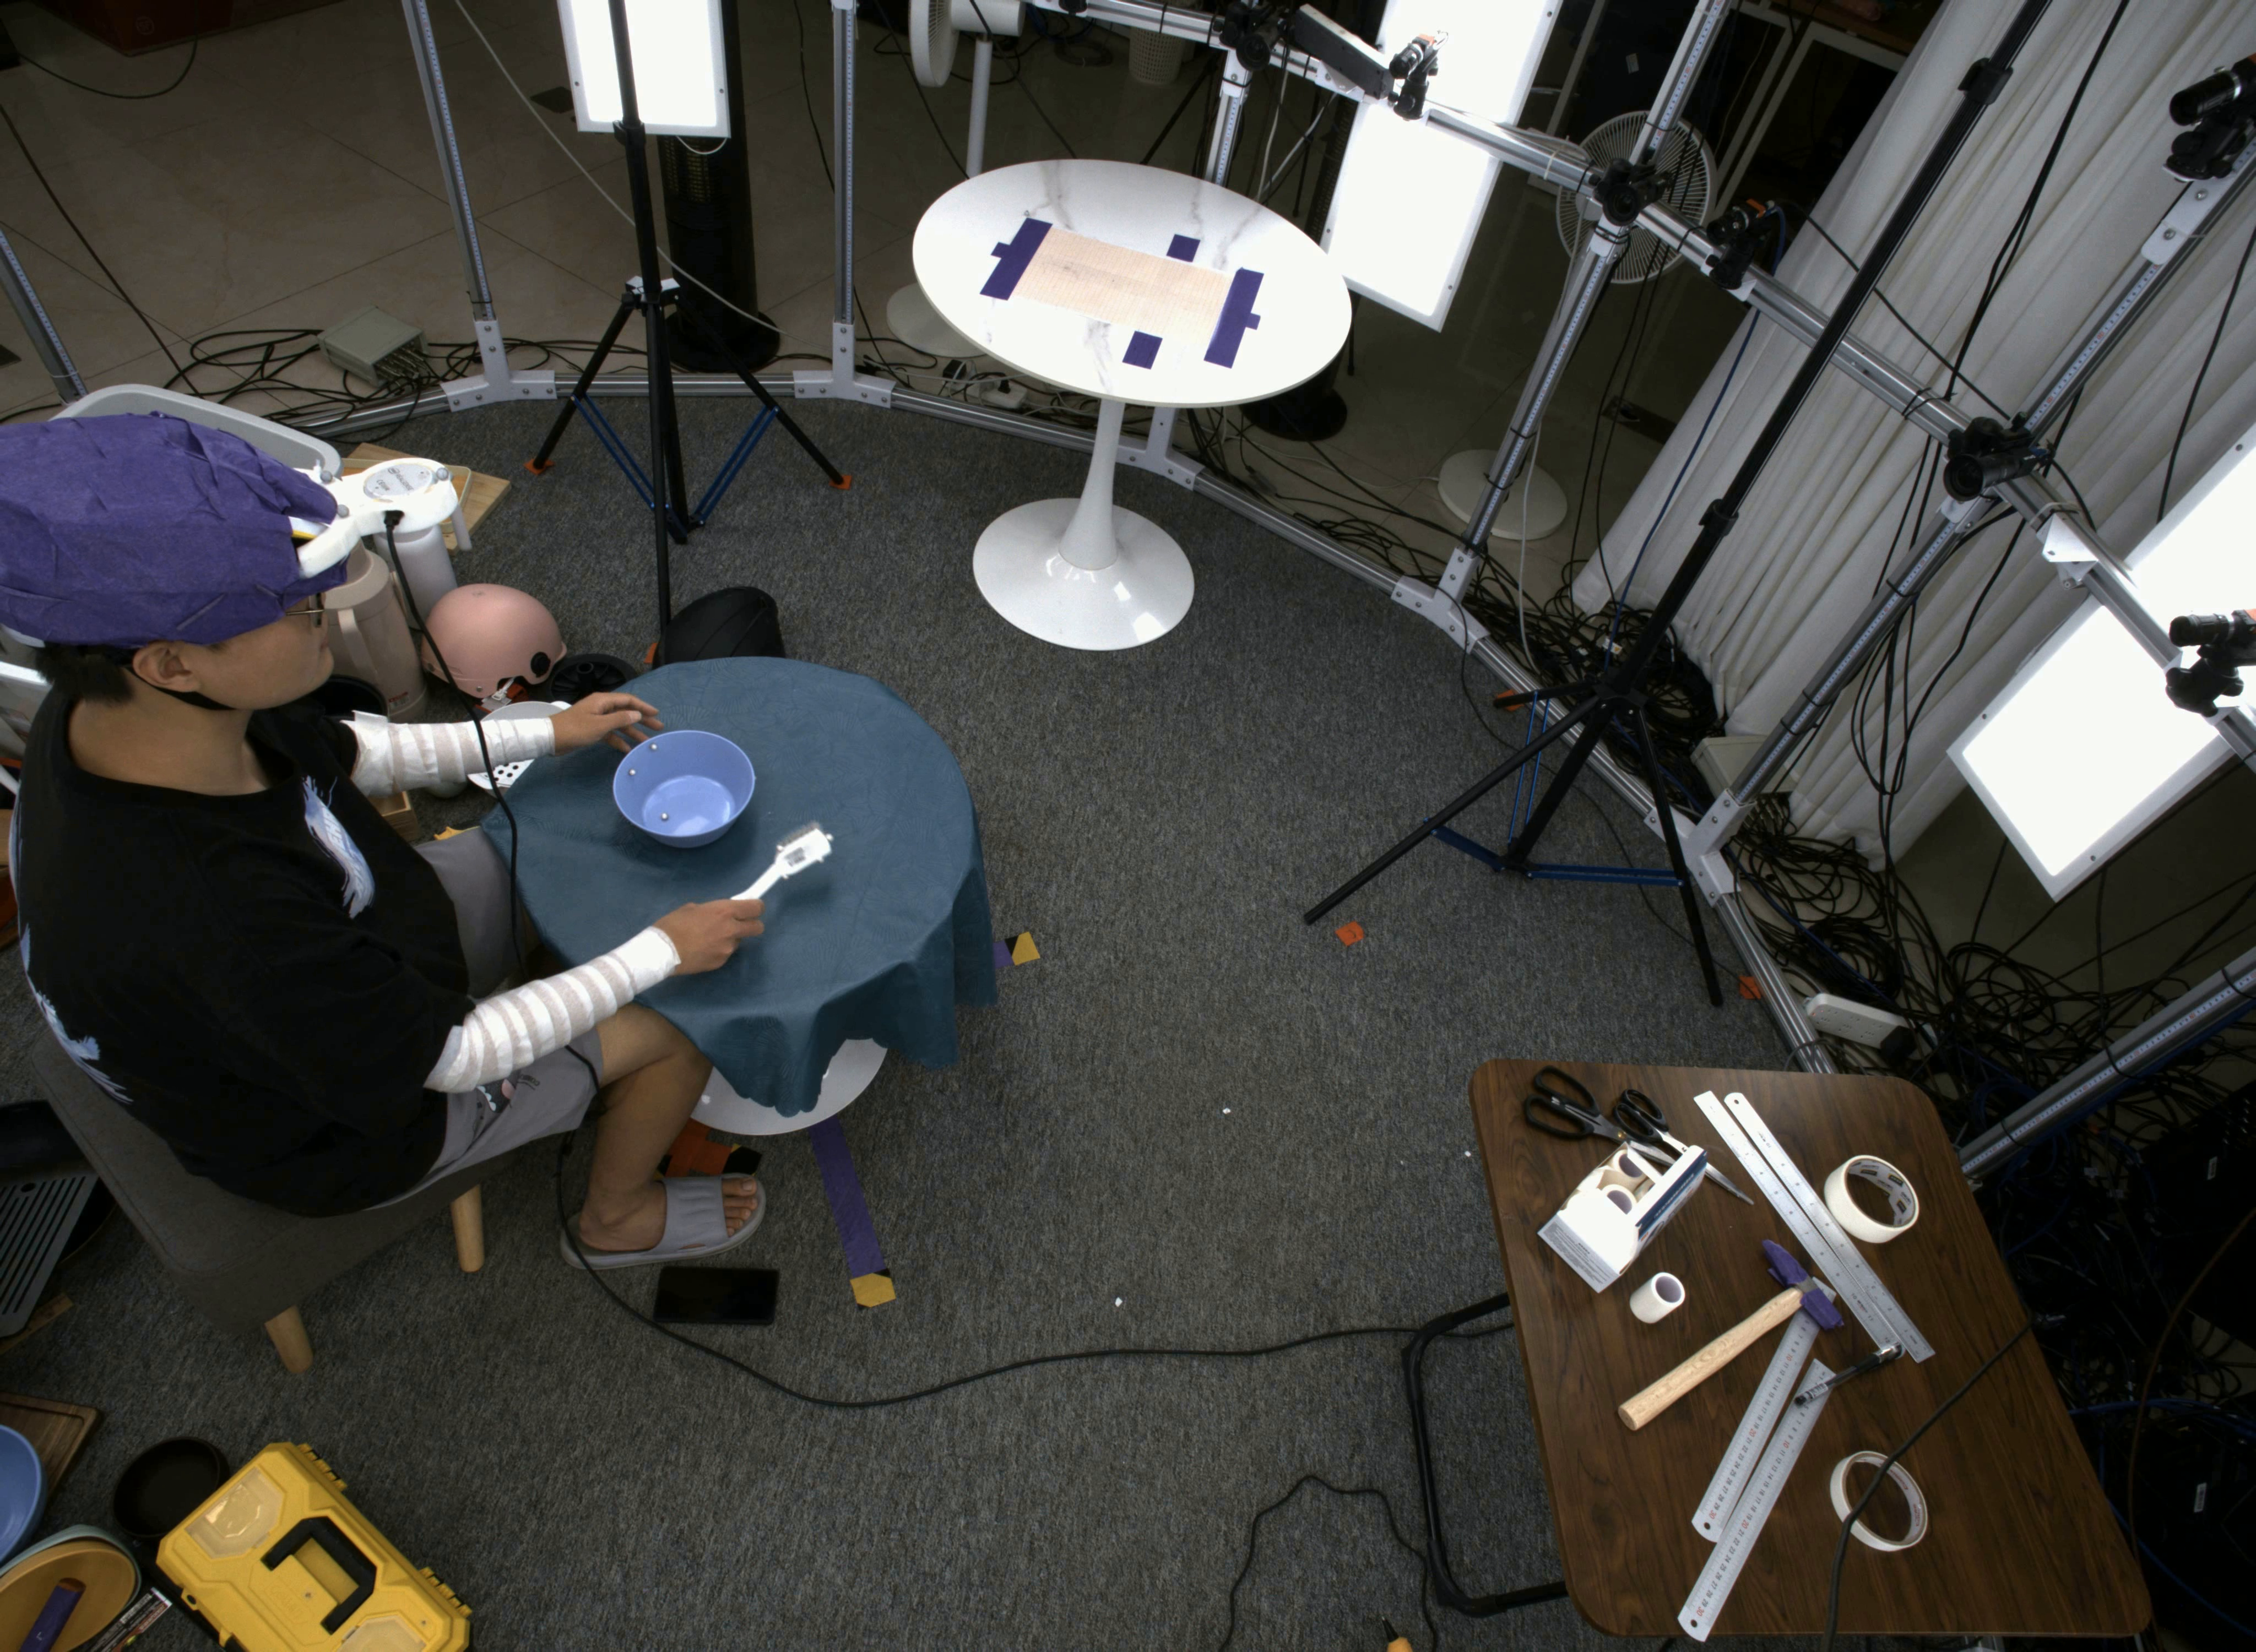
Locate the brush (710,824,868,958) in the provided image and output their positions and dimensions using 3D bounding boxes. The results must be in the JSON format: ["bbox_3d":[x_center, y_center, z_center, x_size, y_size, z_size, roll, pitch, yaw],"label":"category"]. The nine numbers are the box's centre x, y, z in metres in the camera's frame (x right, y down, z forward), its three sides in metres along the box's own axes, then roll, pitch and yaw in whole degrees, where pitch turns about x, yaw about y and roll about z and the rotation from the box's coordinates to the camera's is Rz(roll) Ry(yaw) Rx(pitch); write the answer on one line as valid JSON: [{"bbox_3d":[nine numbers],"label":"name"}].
[{"bbox_3d":[-0.425,0.076,1.614,0.244,0.036,0.048,-38,45,-25],"label":"brush"}]

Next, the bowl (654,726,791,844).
[{"bbox_3d":[-0.529,-0.044,1.695,0.175,0.072,0.173,7,52,-7],"label":"bowl"}]
